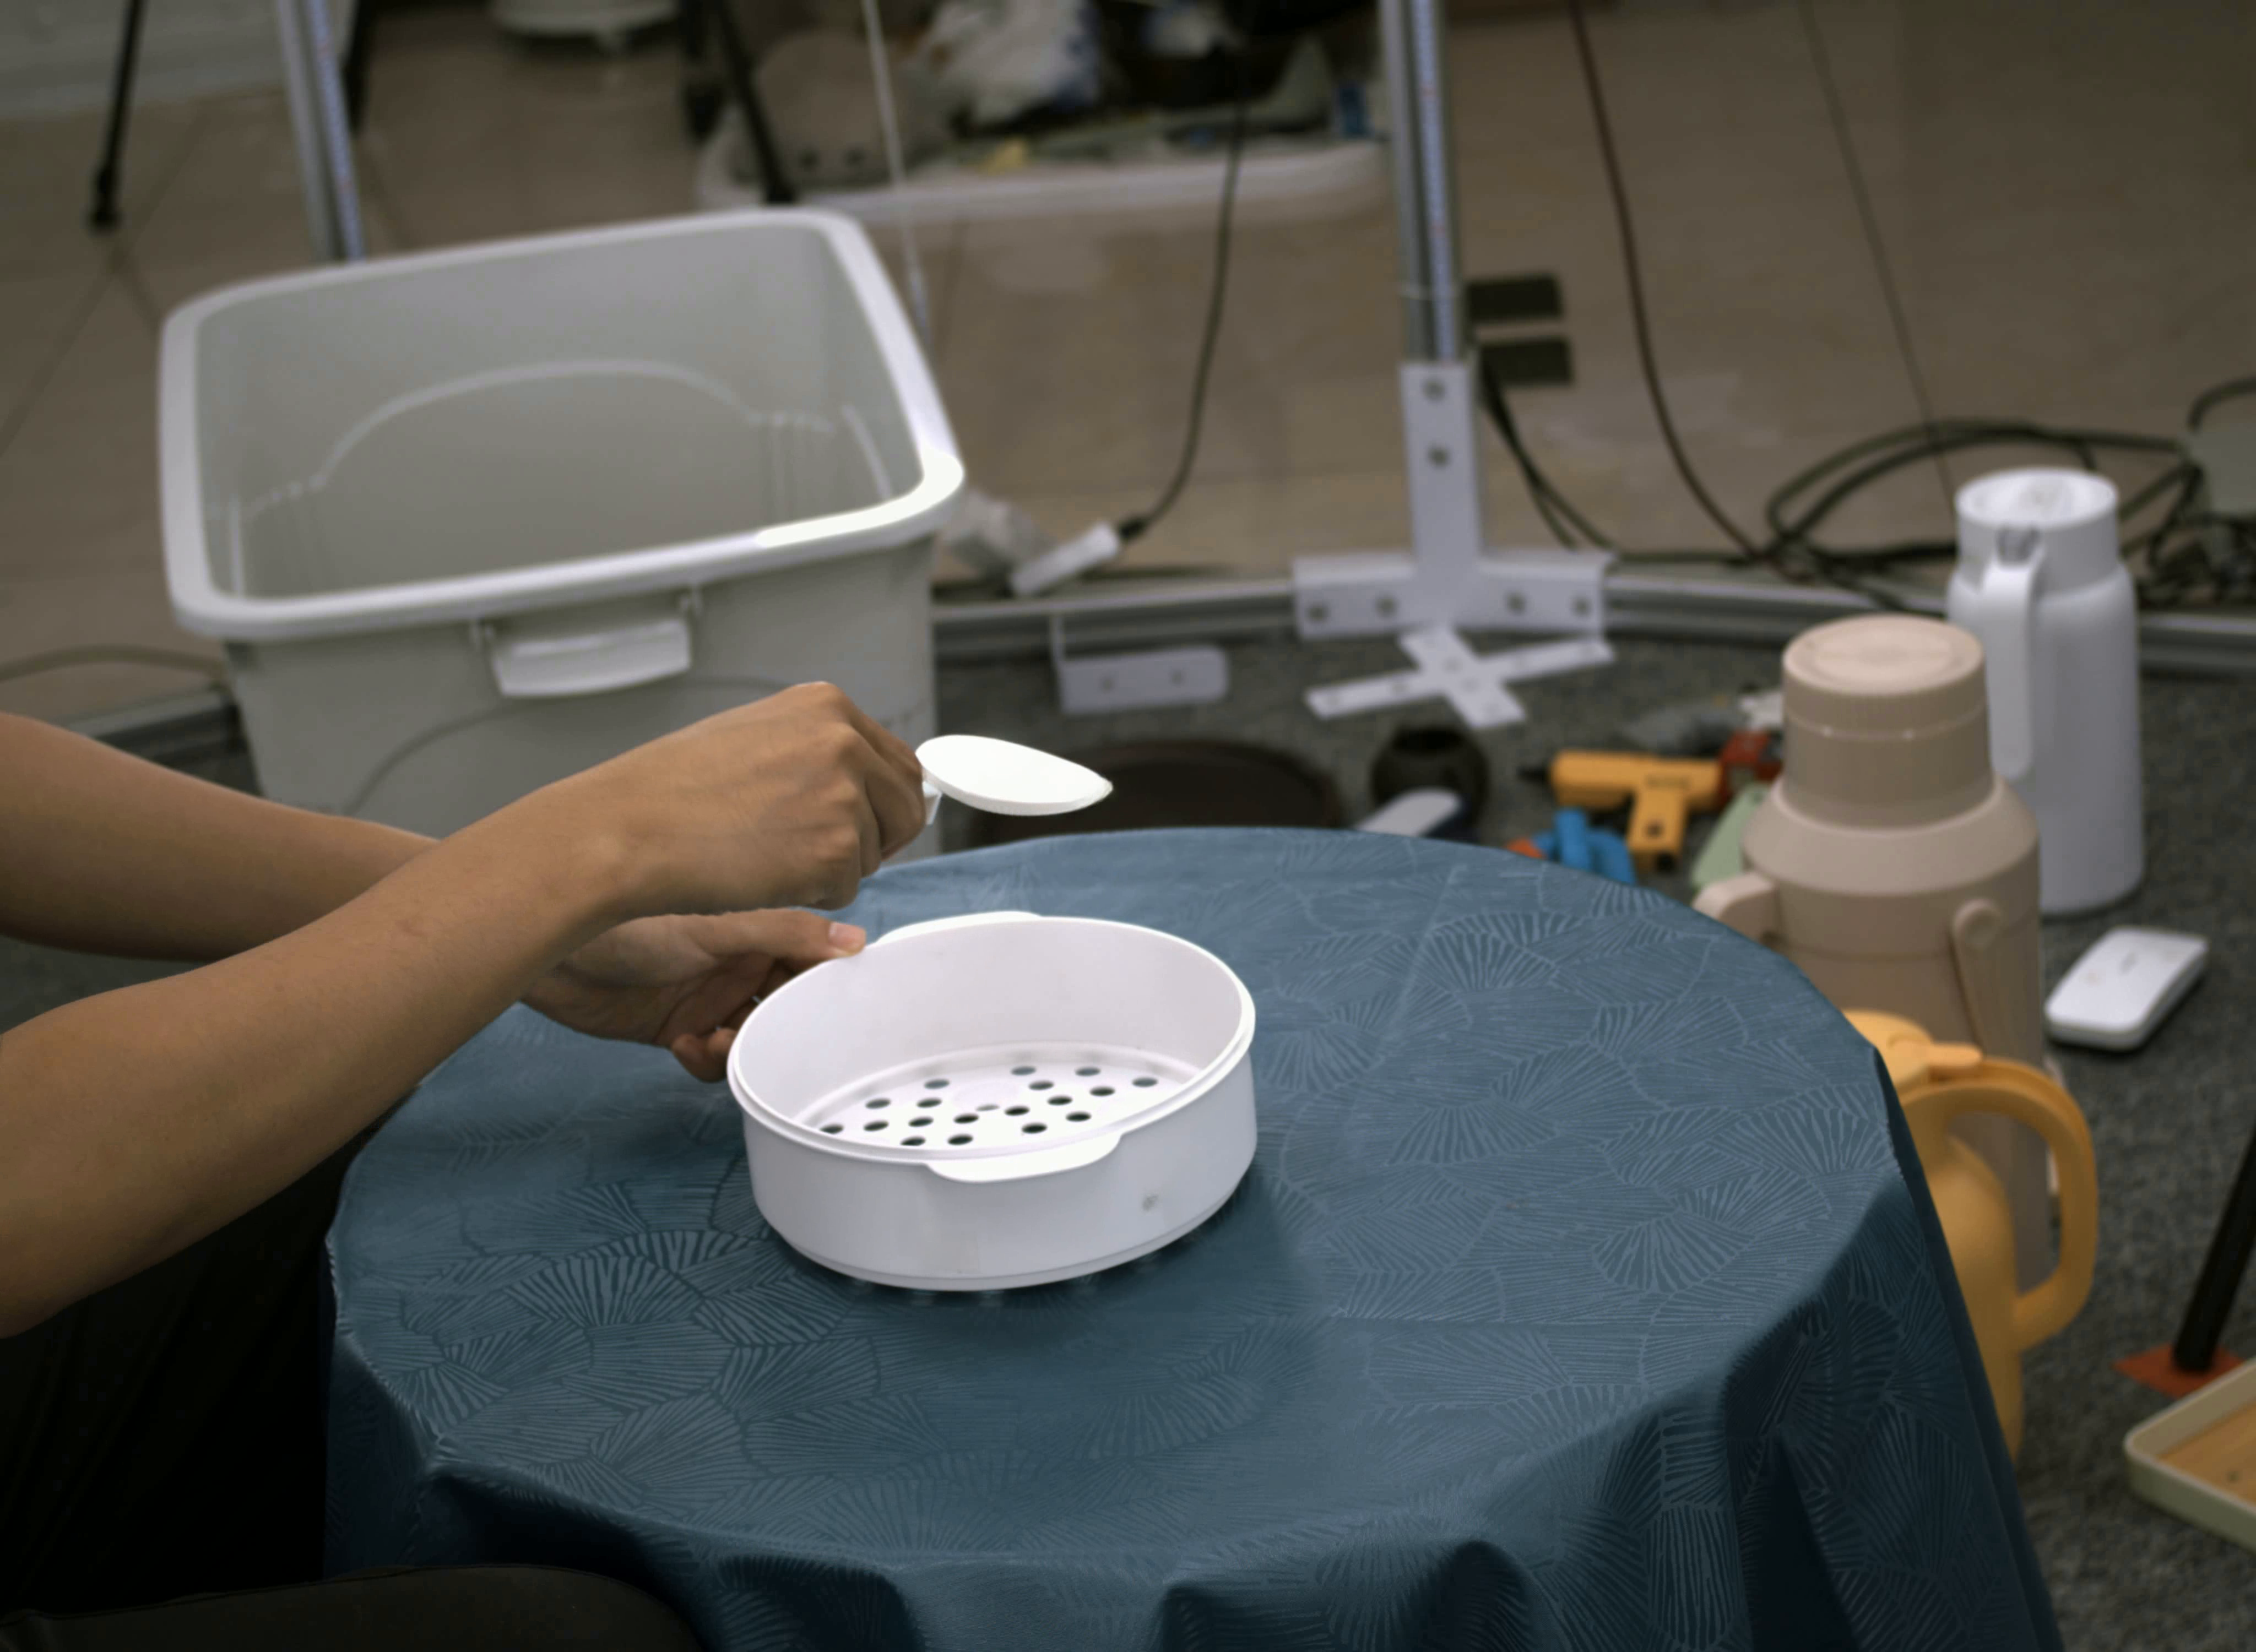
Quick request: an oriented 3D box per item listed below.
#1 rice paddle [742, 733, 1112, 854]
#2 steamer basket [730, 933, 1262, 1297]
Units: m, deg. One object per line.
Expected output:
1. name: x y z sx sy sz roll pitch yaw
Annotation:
1. rice paddle: -0.071 -0.016 2.046 0.068 0.030 0.204 25 17 26
2. steamer basket: -0.047 0.110 2.149 0.201 0.070 0.227 -8 22 -5
